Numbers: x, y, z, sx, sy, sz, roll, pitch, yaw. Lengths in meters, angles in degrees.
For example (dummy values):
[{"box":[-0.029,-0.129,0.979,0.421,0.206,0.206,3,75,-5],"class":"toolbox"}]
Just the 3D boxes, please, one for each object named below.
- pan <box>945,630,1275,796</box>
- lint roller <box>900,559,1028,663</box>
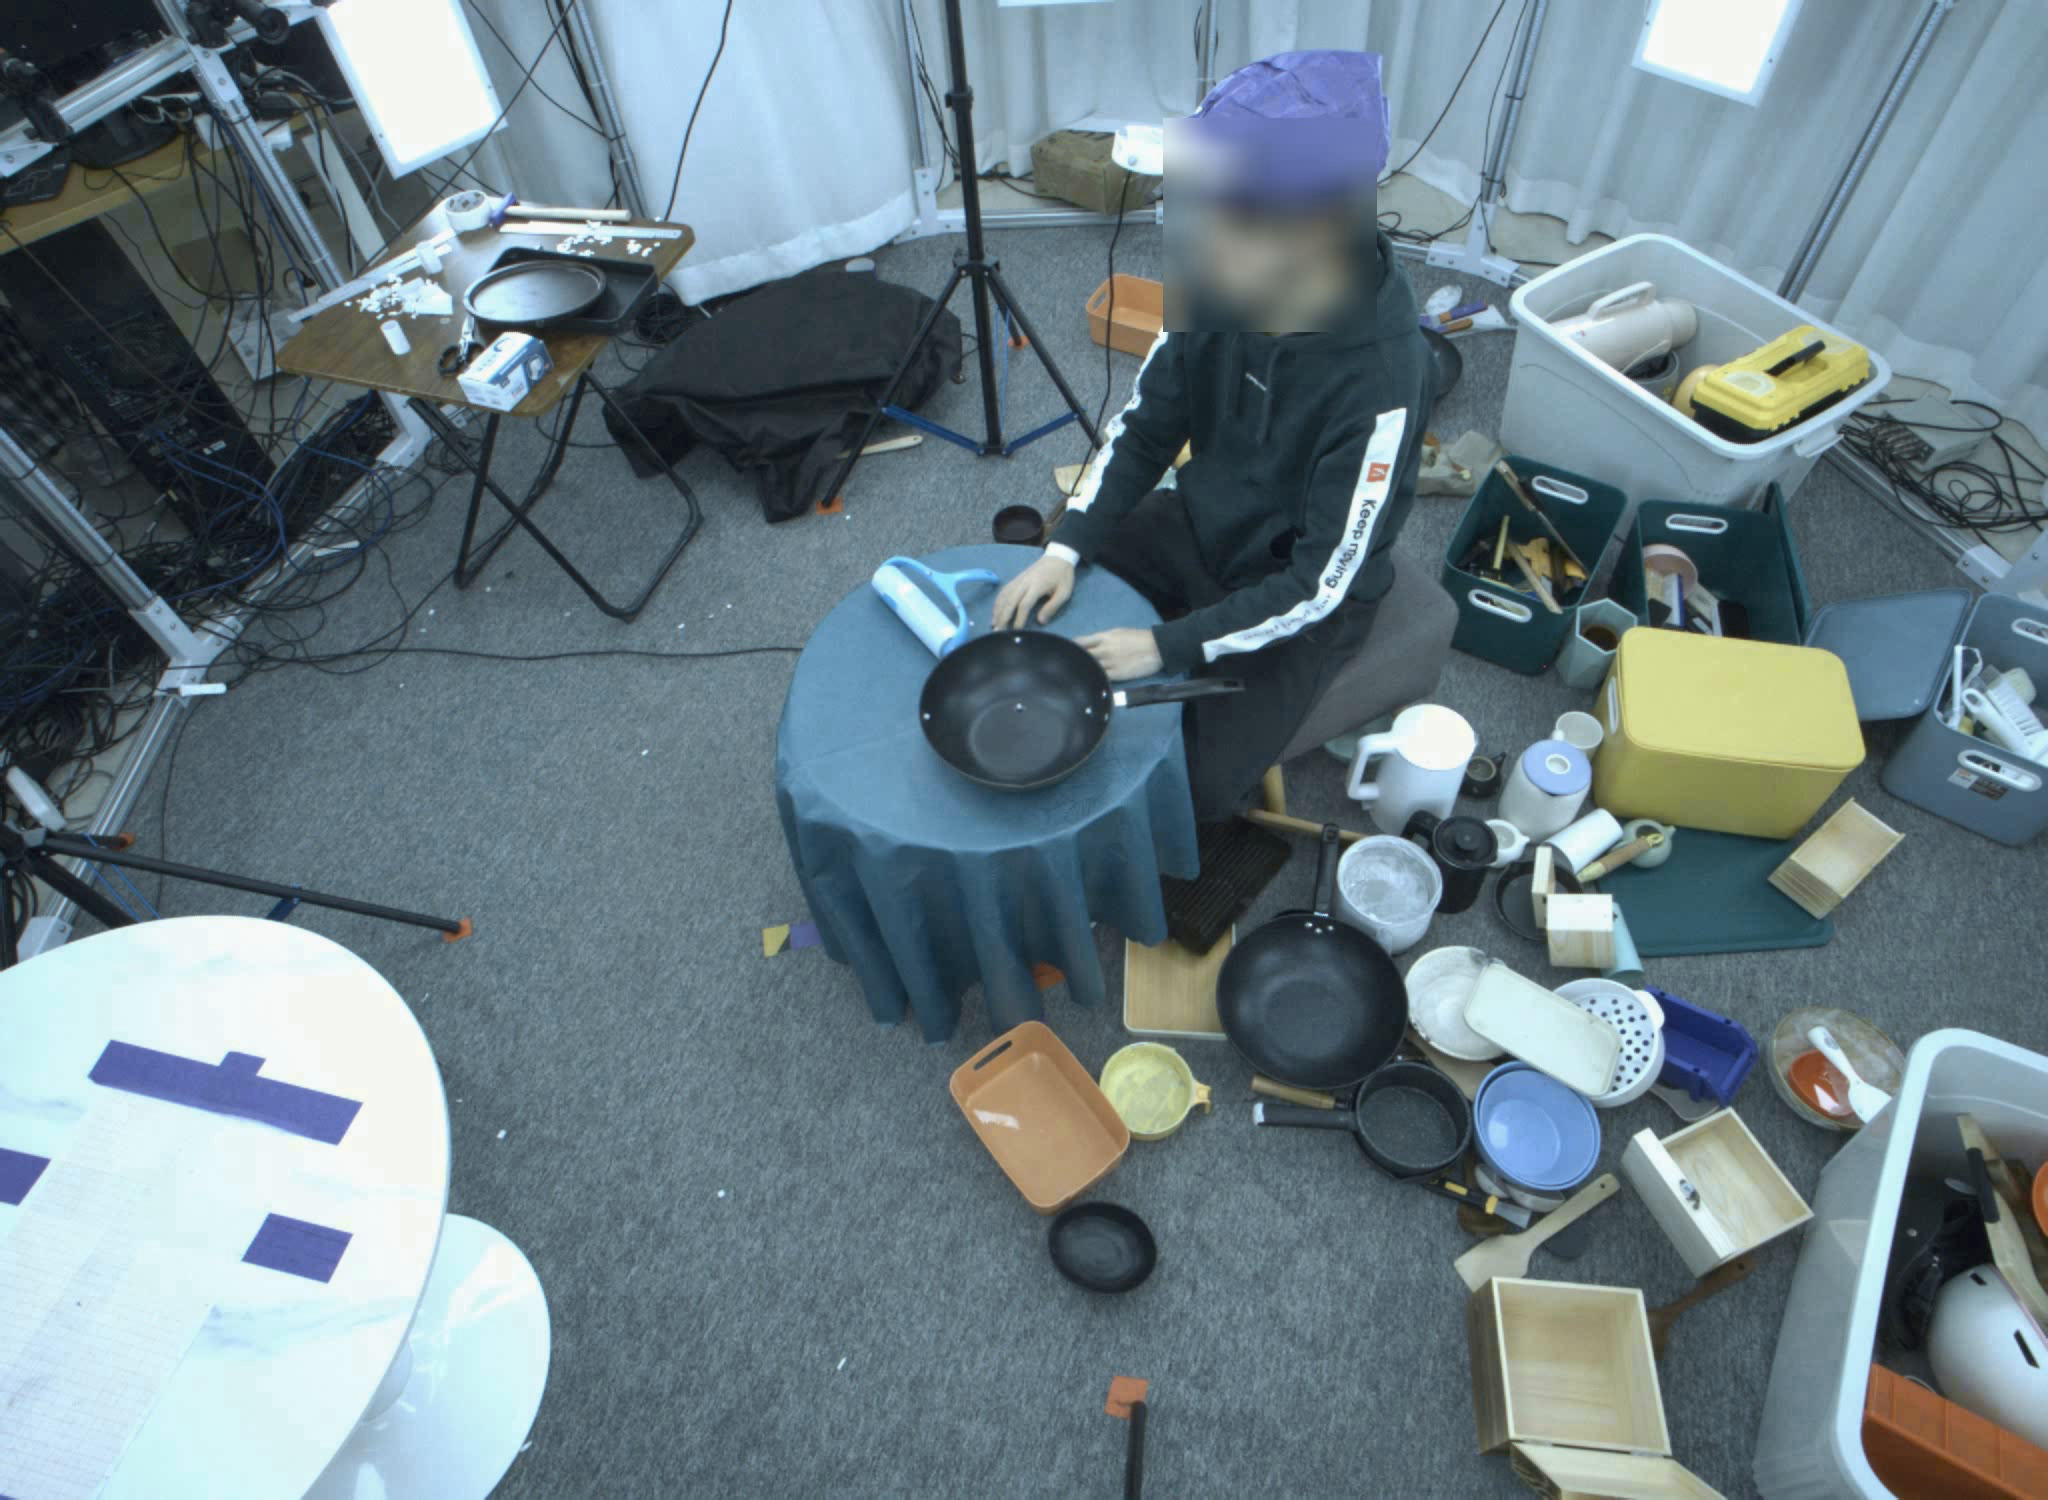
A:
[{"box":[0.122,-0.044,1.760,0.464,0.088,0.285,-2,55,-1],"class":"pan"},{"box":[-0.073,-0.243,1.924,0.181,0.069,0.224,-35,58,-20],"class":"lint roller"}]
